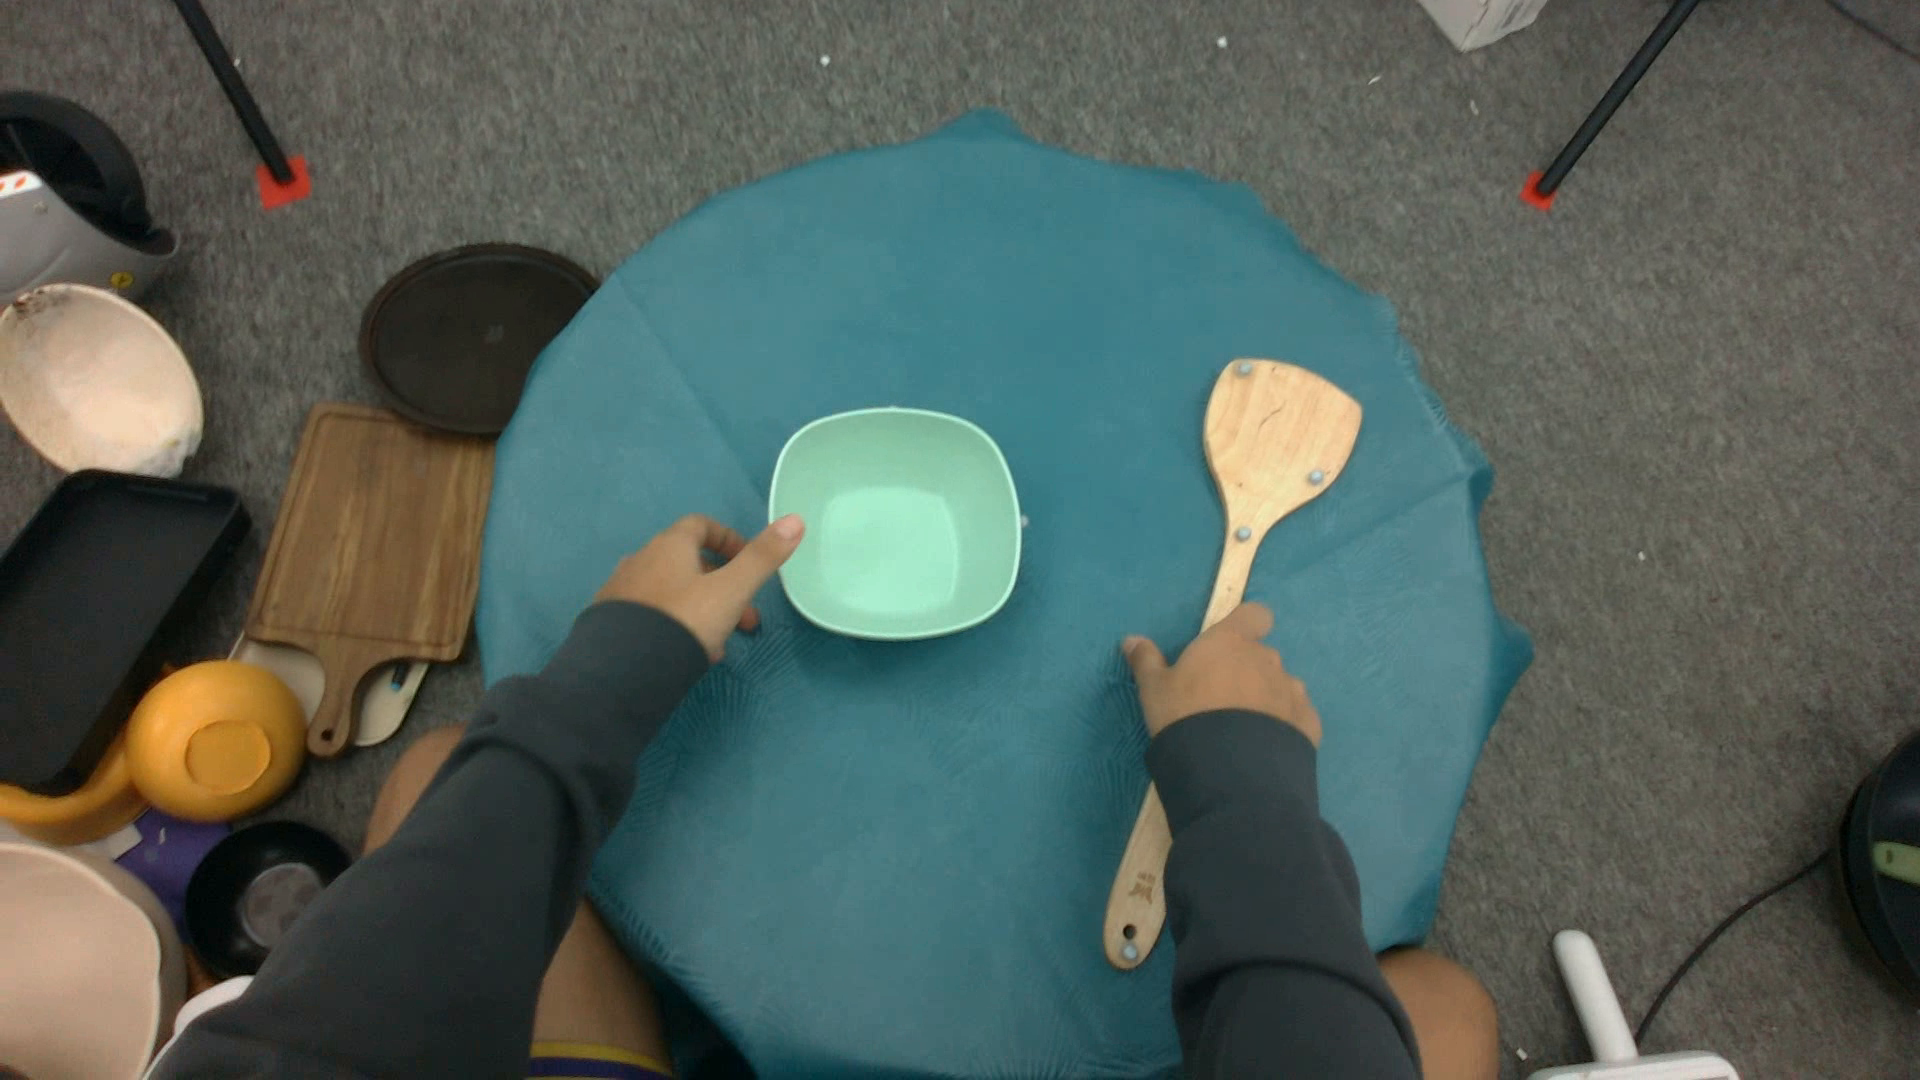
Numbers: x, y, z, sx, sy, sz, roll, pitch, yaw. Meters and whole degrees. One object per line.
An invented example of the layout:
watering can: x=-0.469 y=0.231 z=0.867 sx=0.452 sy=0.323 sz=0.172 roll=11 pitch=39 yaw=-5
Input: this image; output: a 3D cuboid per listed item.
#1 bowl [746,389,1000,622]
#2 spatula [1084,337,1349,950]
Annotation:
bowl: x=-0.050 y=-0.011 z=0.776 sx=0.151 sy=0.058 sz=0.152 roll=3 pitch=66 yaw=-7
spatula: x=0.142 y=0.048 z=0.802 sx=0.096 sy=0.018 sz=0.392 roll=20 pitch=66 yaw=2
